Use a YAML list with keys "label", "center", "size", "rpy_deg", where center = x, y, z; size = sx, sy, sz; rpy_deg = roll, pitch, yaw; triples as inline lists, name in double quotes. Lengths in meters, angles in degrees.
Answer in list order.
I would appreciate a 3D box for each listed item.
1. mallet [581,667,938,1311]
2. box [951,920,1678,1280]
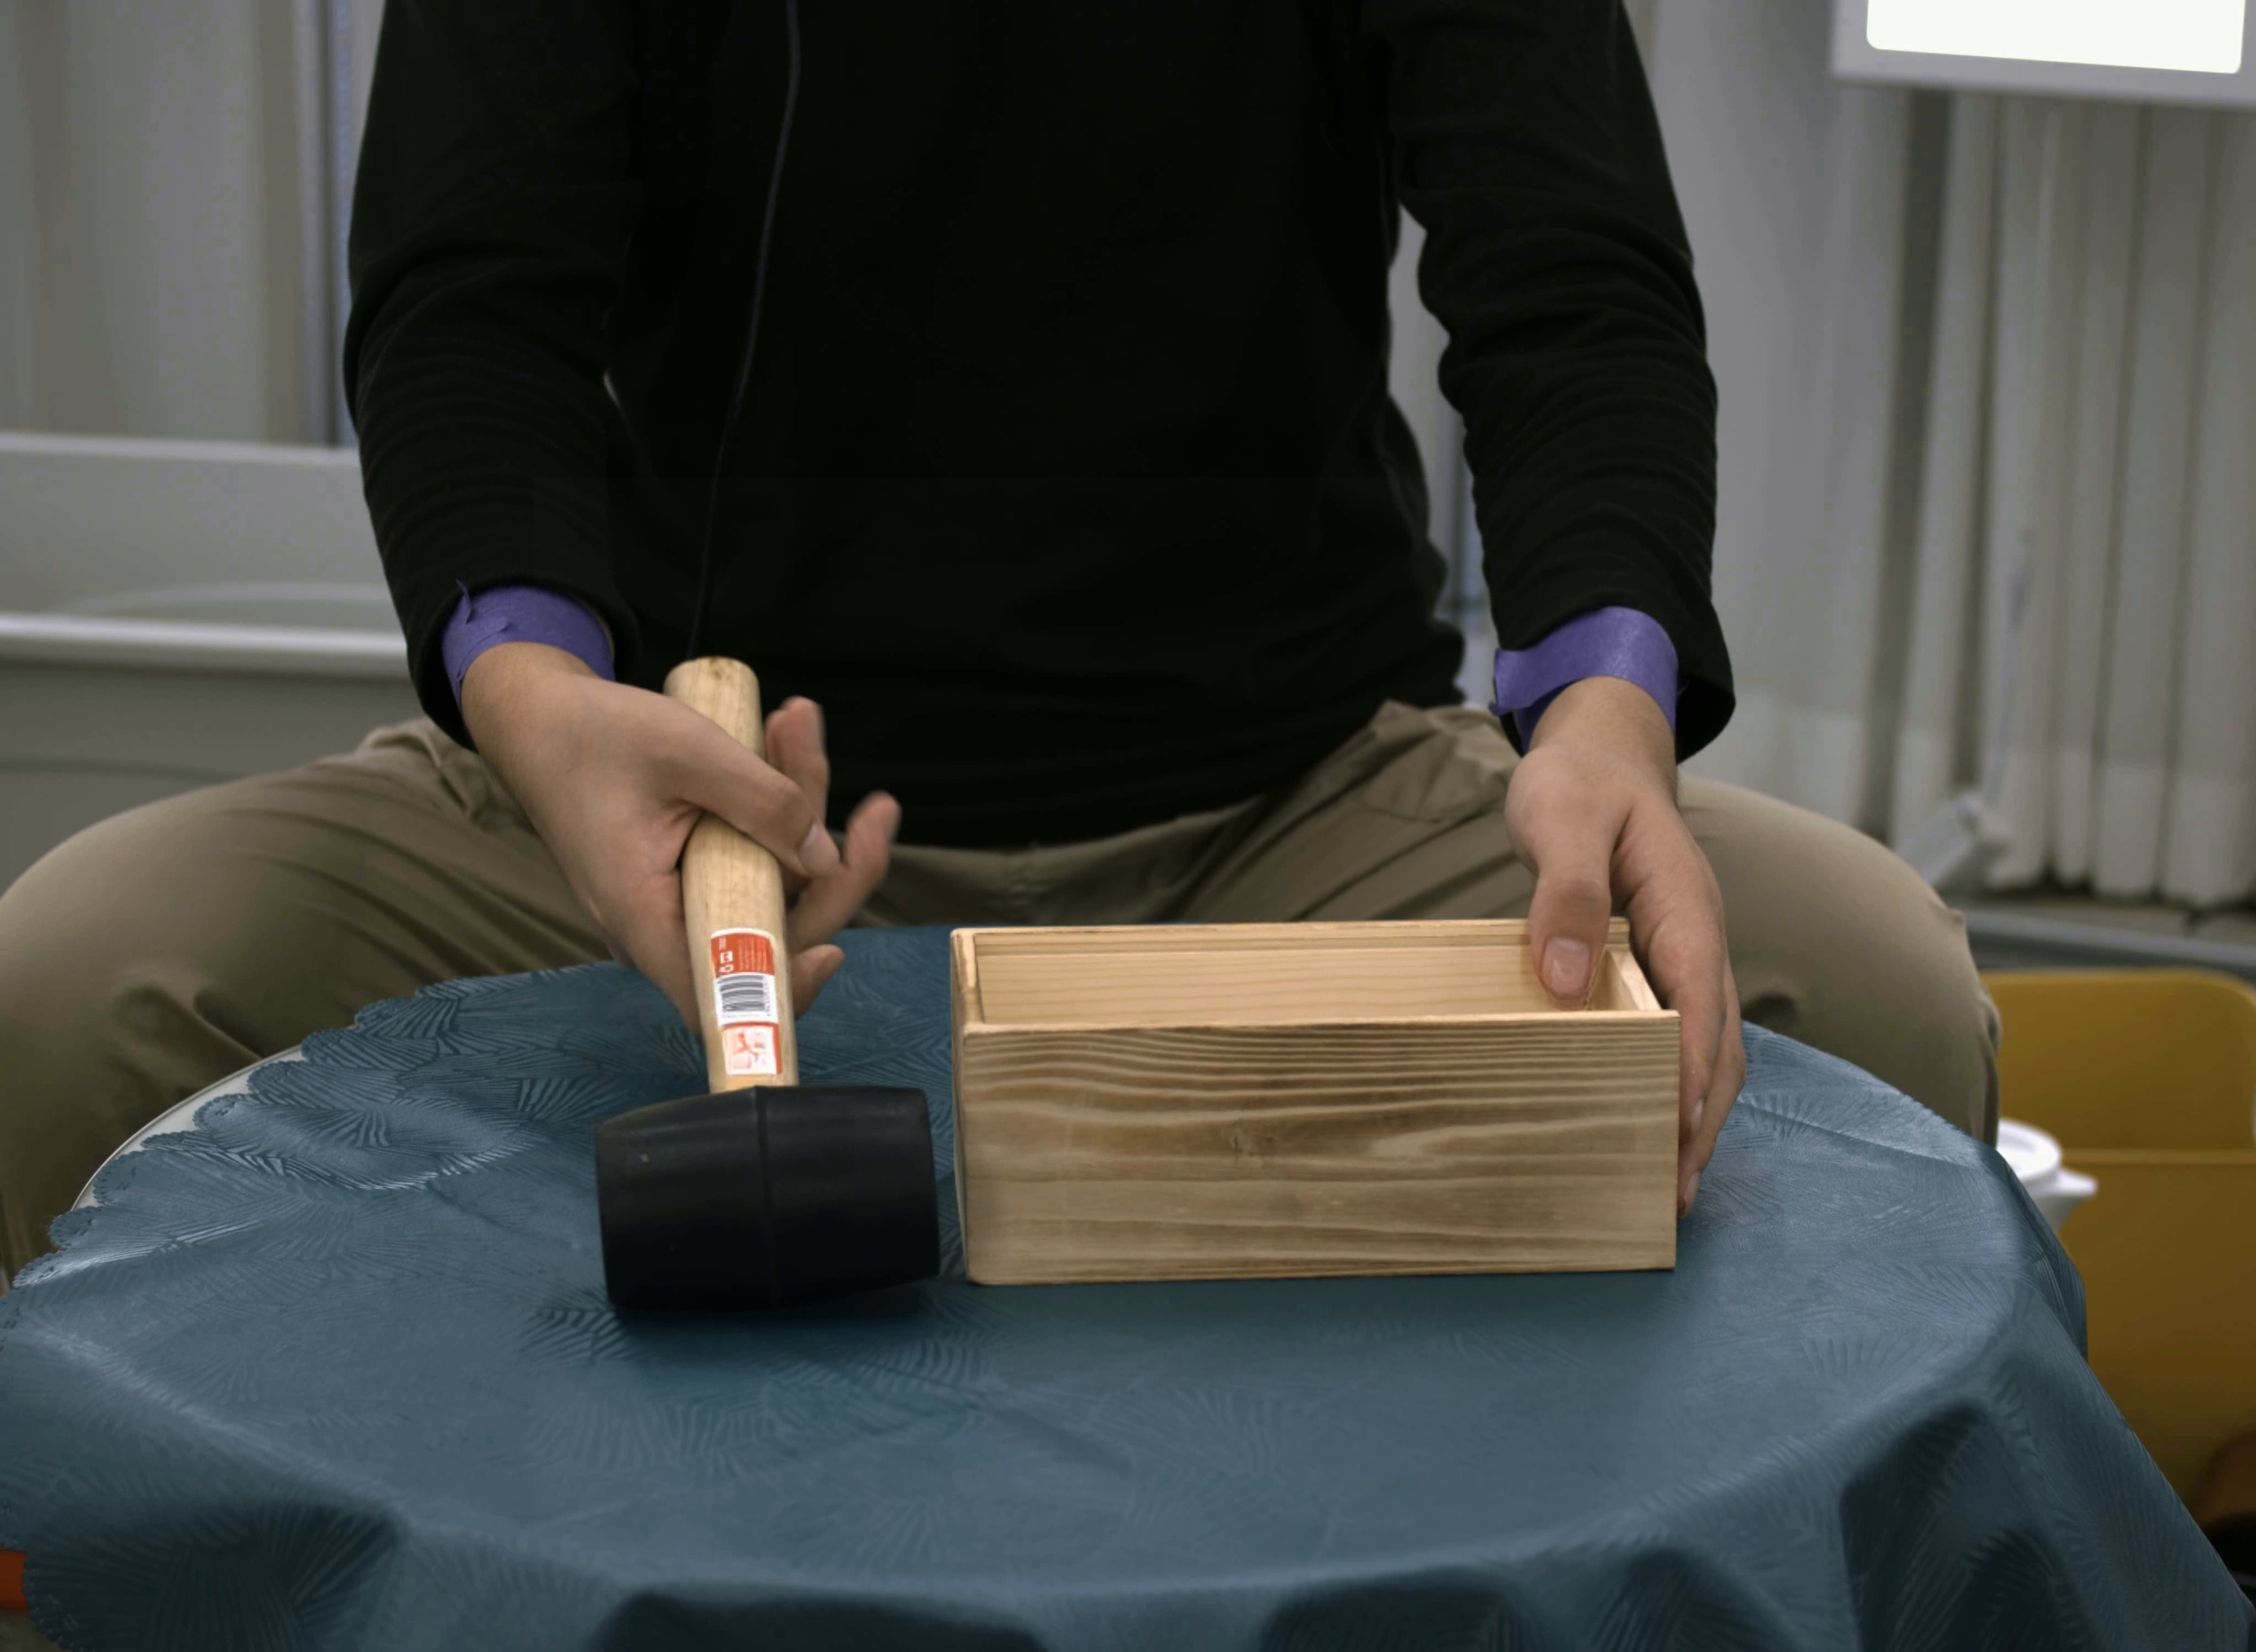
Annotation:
- label: "mallet"
  center: [-0.120, 0.033, 1.632]
  size: [0.102, 0.065, 0.335]
  rpy_deg: [-1, 33, -6]
- label: "box"
  center: [0.053, 0.081, 1.587]
  size: [0.211, 0.081, 0.107]
  rpy_deg: [-1, 15, -5]
